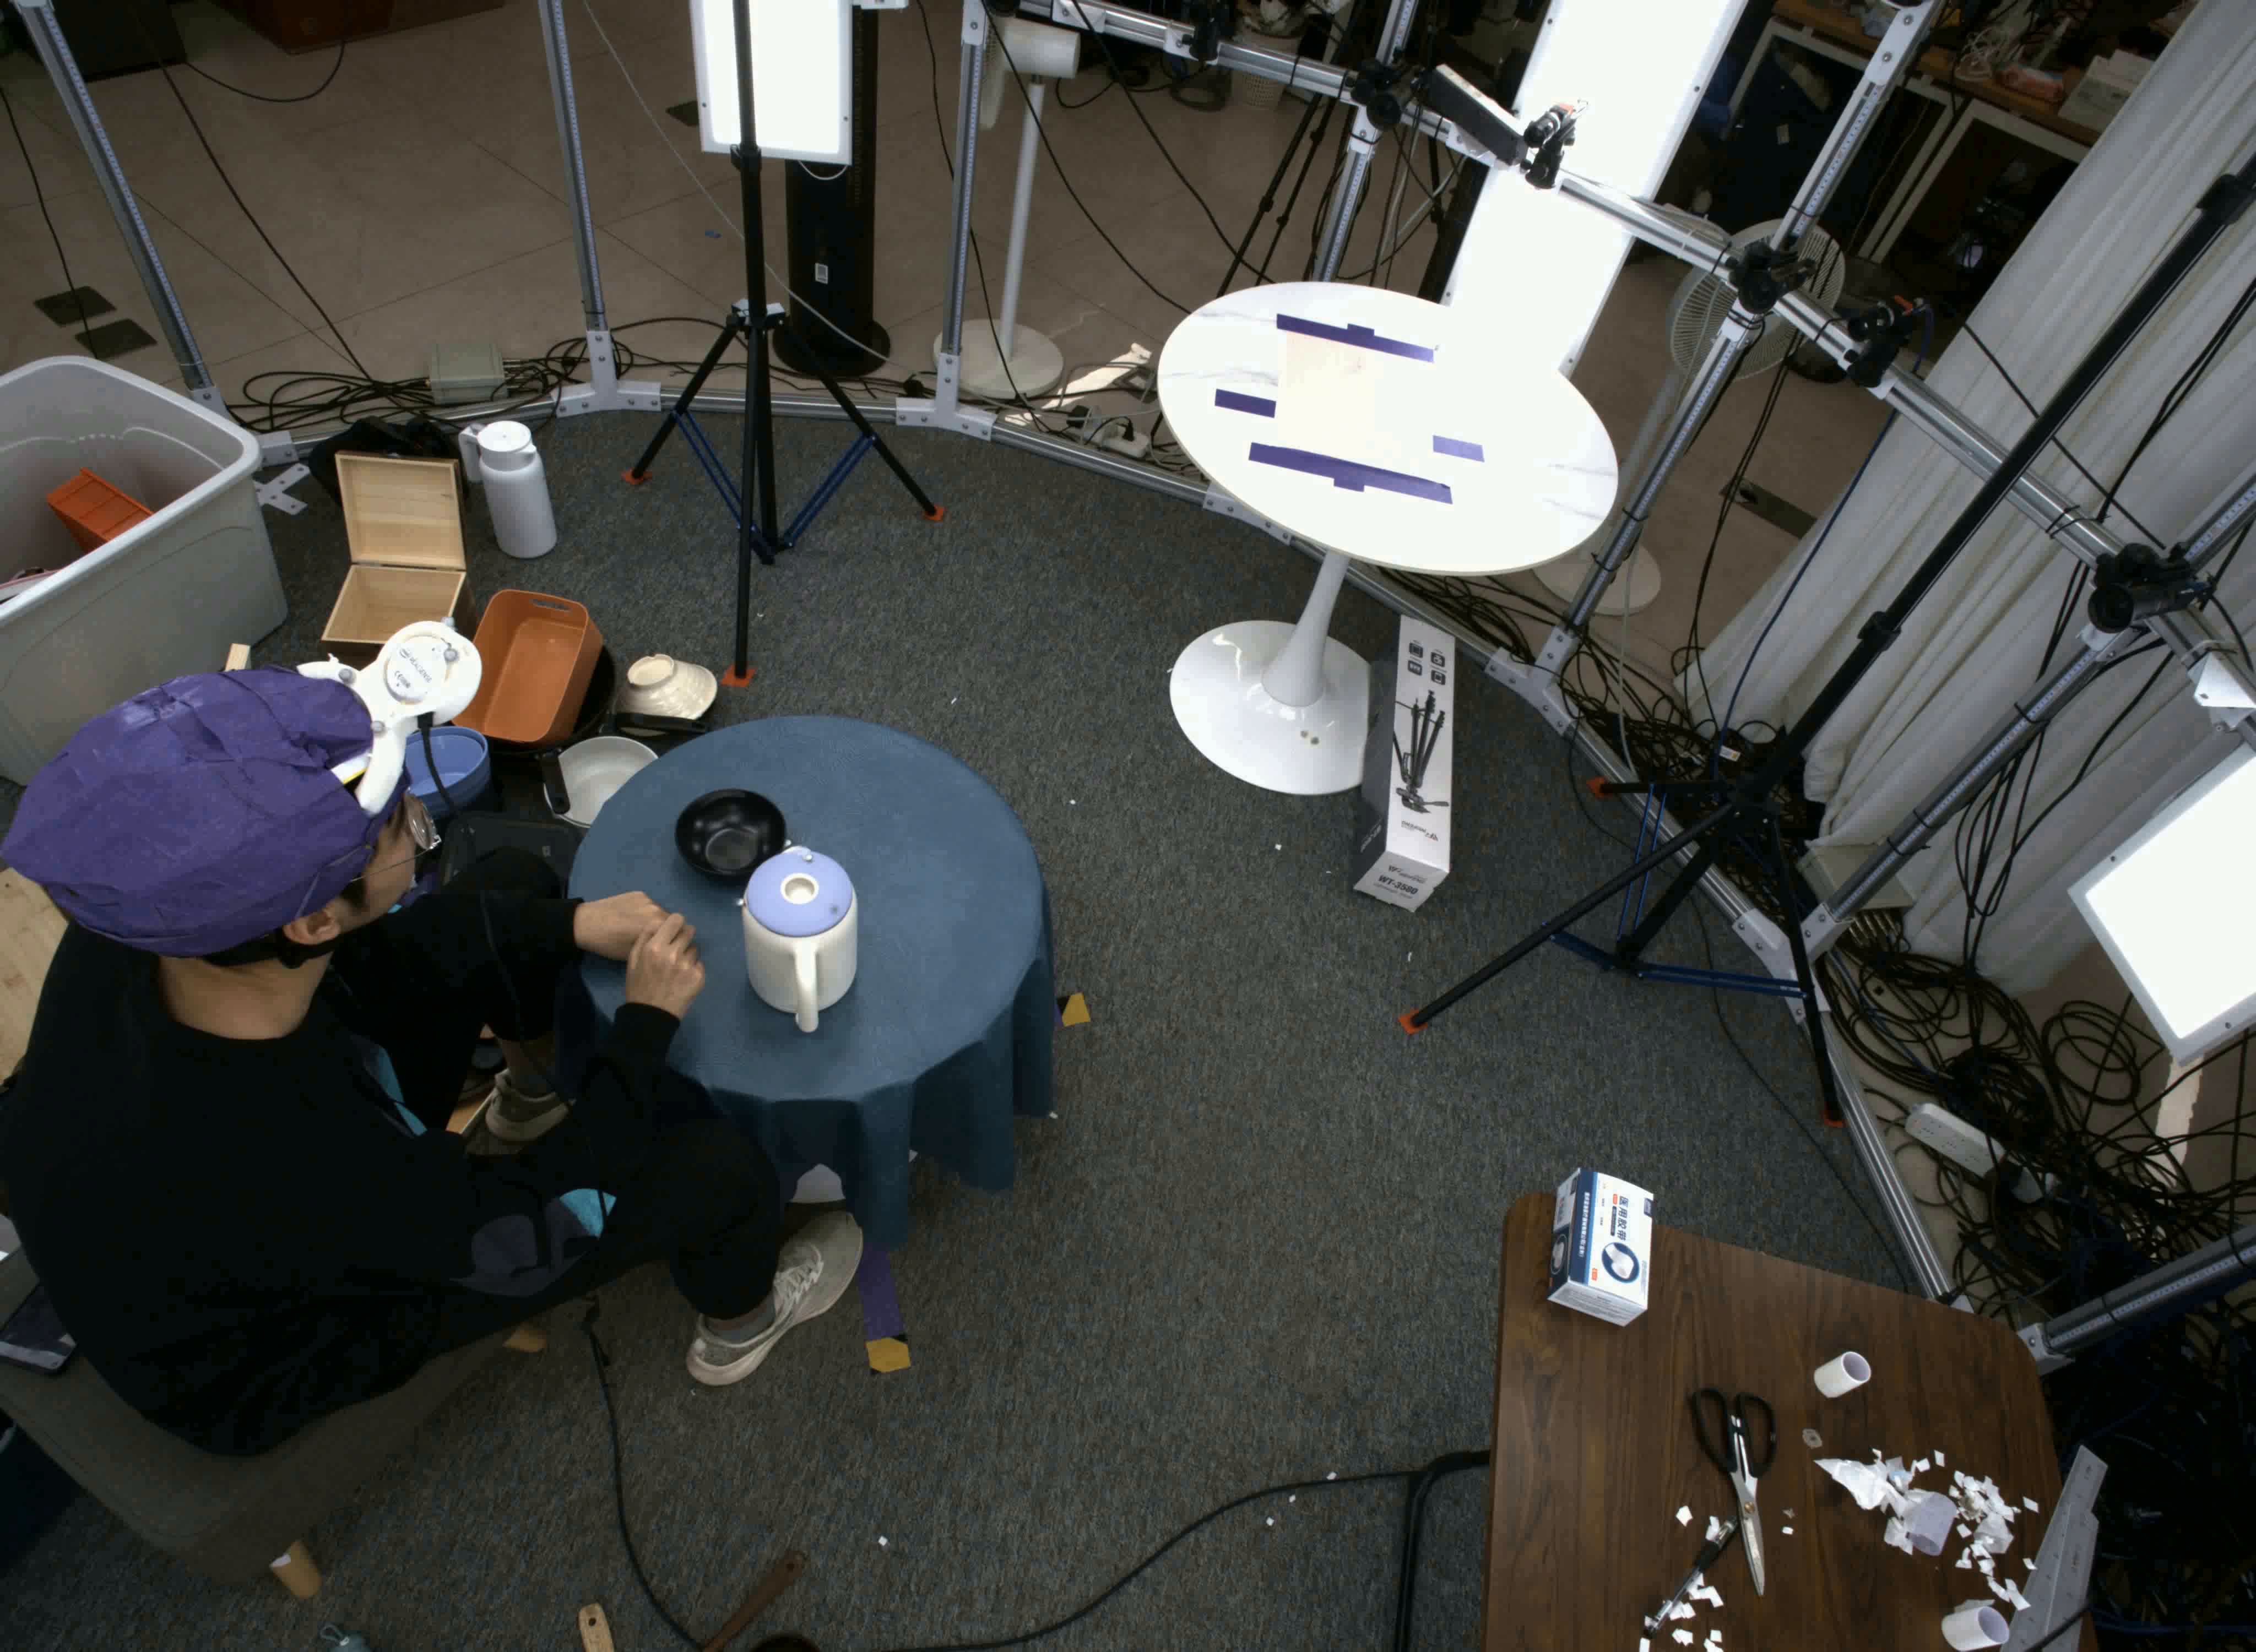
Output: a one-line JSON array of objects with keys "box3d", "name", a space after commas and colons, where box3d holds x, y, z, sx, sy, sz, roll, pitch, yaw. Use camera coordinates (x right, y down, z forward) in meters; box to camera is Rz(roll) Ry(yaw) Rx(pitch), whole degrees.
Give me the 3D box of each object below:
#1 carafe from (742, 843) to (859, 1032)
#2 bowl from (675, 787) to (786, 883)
[{"box3d": [-0.381, 0.143, 1.526, 0.132, 0.186, 0.187, -7, 58, -16], "name": "carafe"}, {"box3d": [-0.510, 0.019, 1.662, 0.140, 0.051, 0.137, 8, 54, -9], "name": "bowl"}]
